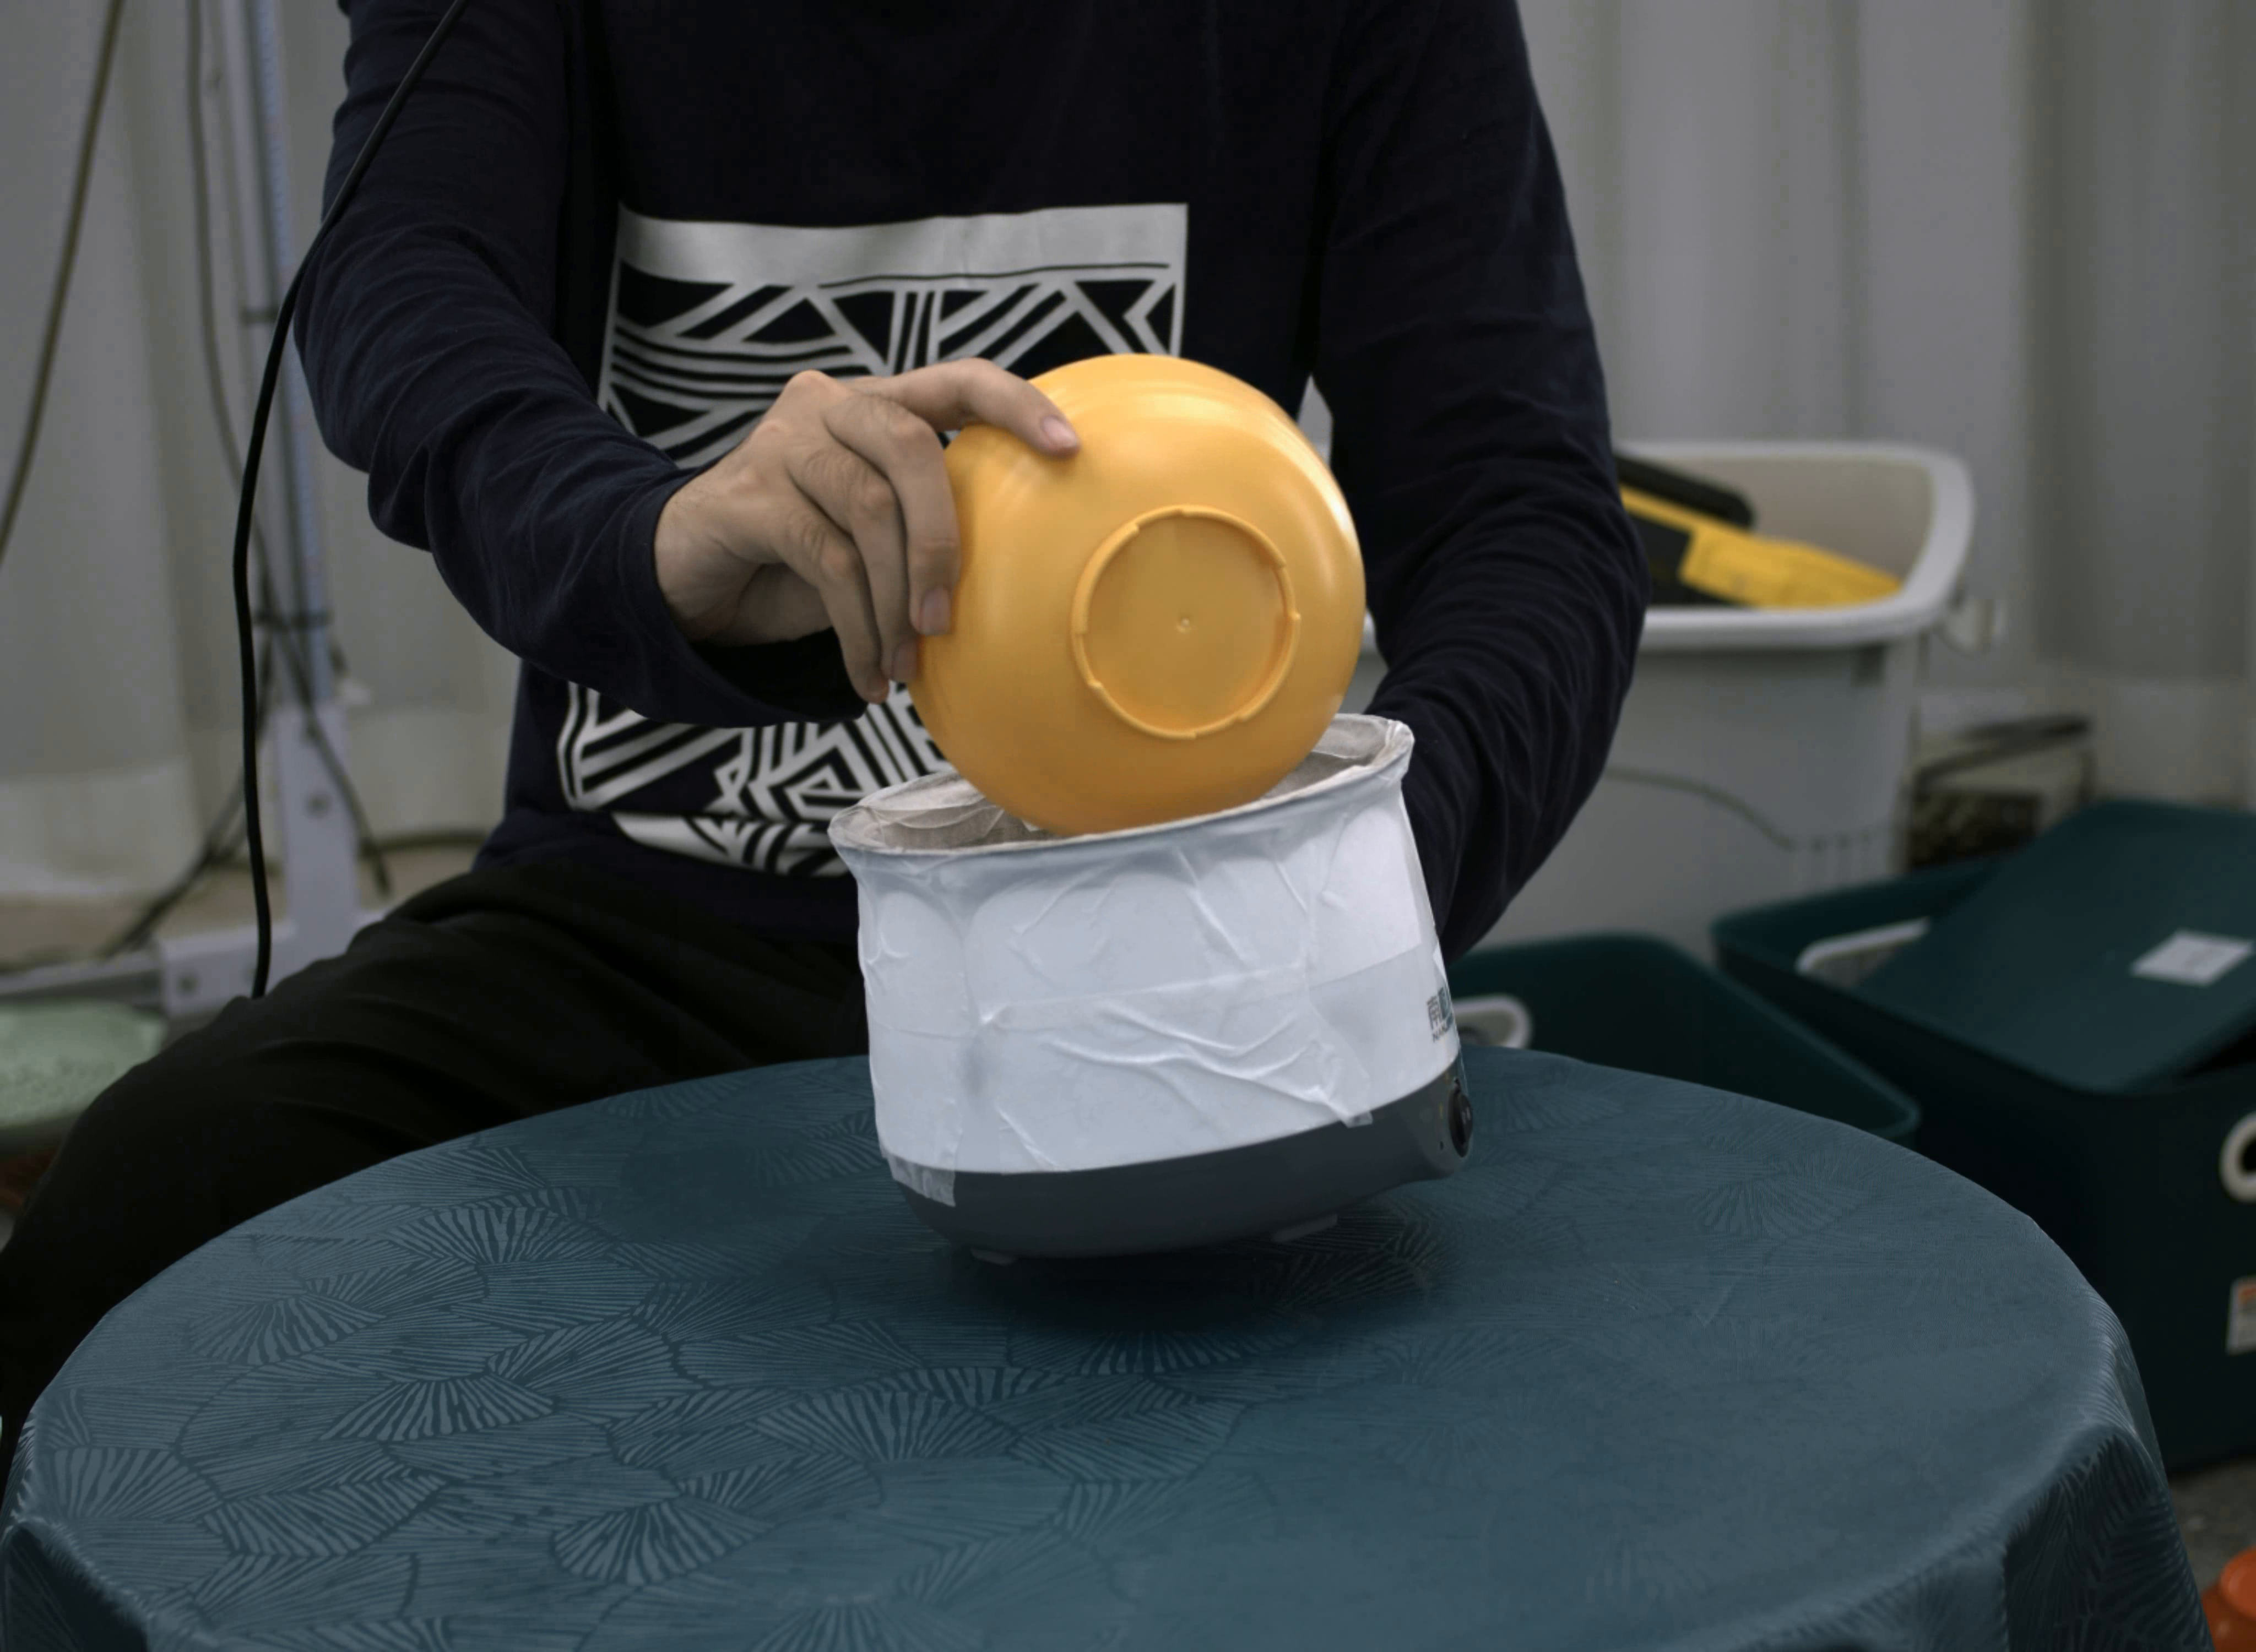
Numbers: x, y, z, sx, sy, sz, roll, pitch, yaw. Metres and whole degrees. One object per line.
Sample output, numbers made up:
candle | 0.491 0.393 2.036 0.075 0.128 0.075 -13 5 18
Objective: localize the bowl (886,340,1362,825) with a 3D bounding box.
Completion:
bowl | 0.005 -0.064 1.581 0.144 0.145 0.060 -6 14 -12

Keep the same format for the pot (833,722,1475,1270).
pot | 0.016 0.045 1.665 0.178 0.136 0.234 -7 8 16
